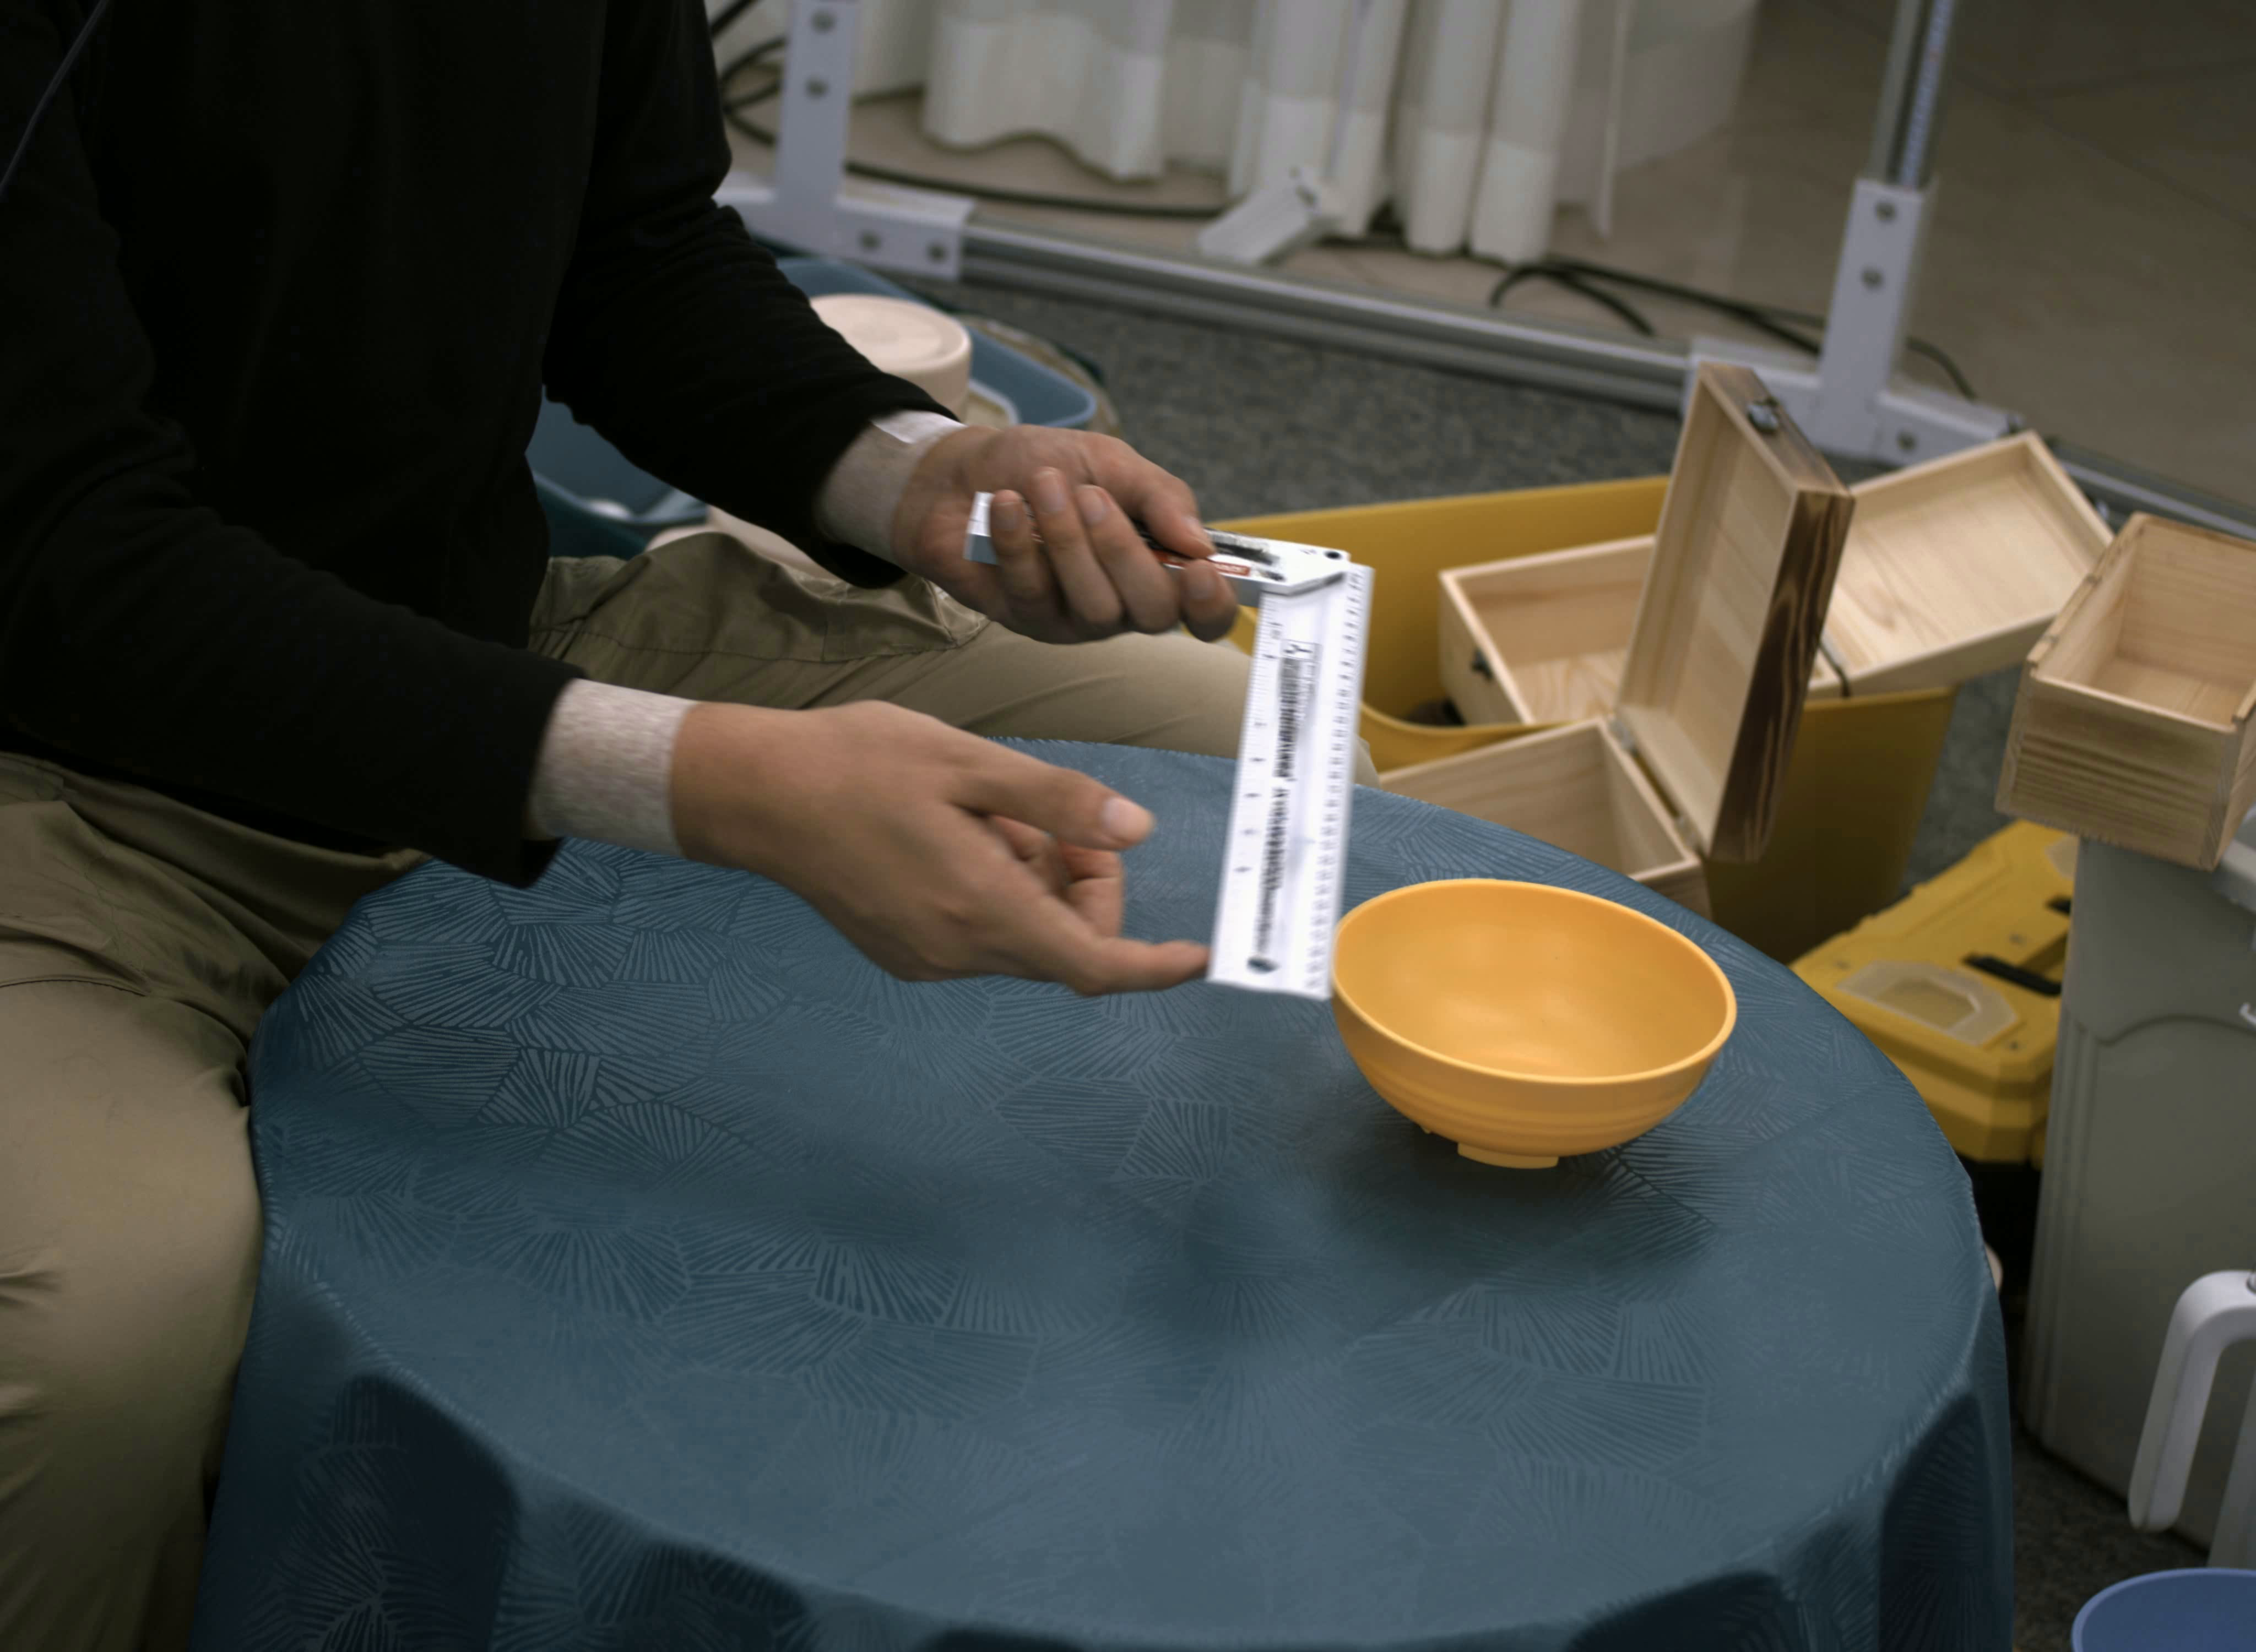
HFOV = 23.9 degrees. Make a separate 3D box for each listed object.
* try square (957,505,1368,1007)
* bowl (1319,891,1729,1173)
[{"bbox_3d":[0.001,-0.030,1.866,0.152,0.016,0.314,6,31,3],"label":"try square"},{"bbox_3d":[0.134,0.080,1.857,0.145,0.060,0.146,6,24,-3],"label":"bowl"}]
